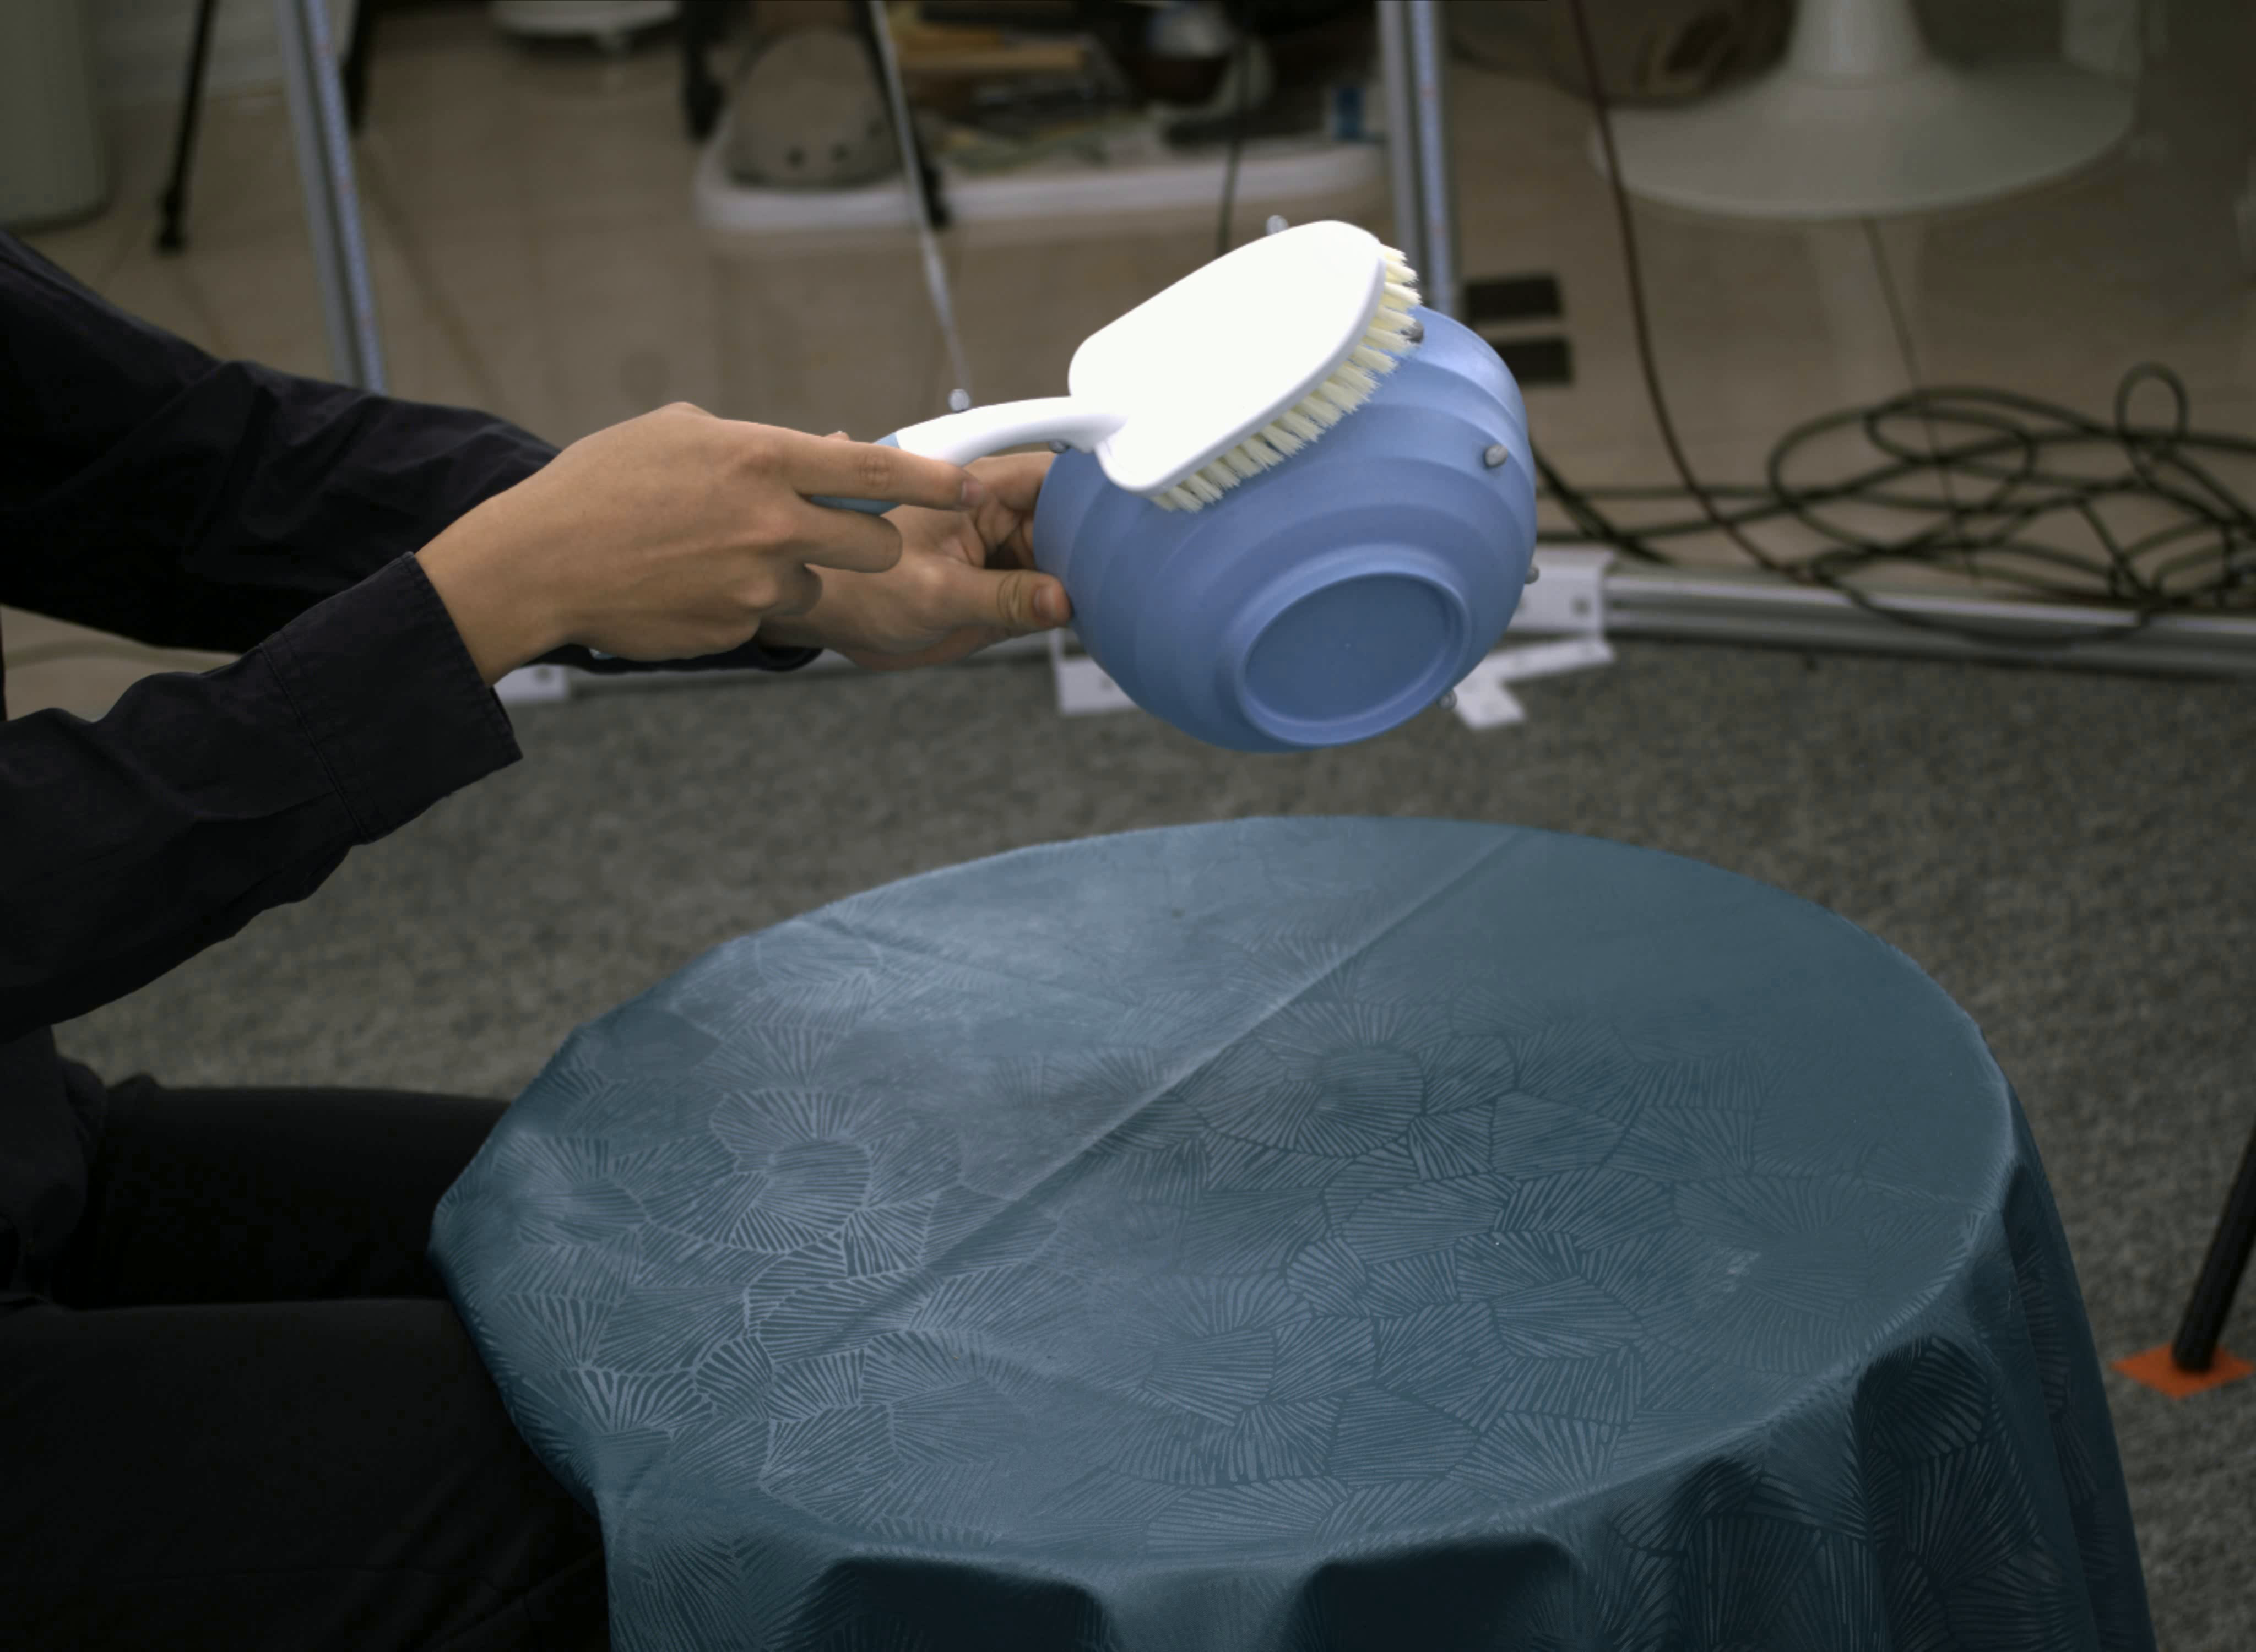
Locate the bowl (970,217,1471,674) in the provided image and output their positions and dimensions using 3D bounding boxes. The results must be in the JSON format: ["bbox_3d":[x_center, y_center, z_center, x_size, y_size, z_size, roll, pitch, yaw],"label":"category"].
[{"bbox_3d":[0.047,-0.126,2.132,0.196,0.200,0.094,-12,50,-12],"label":"bowl"}]

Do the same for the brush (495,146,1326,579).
[{"bbox_3d":[-0.077,-0.160,2.060,0.325,0.086,0.082,-26,31,6],"label":"brush"}]
